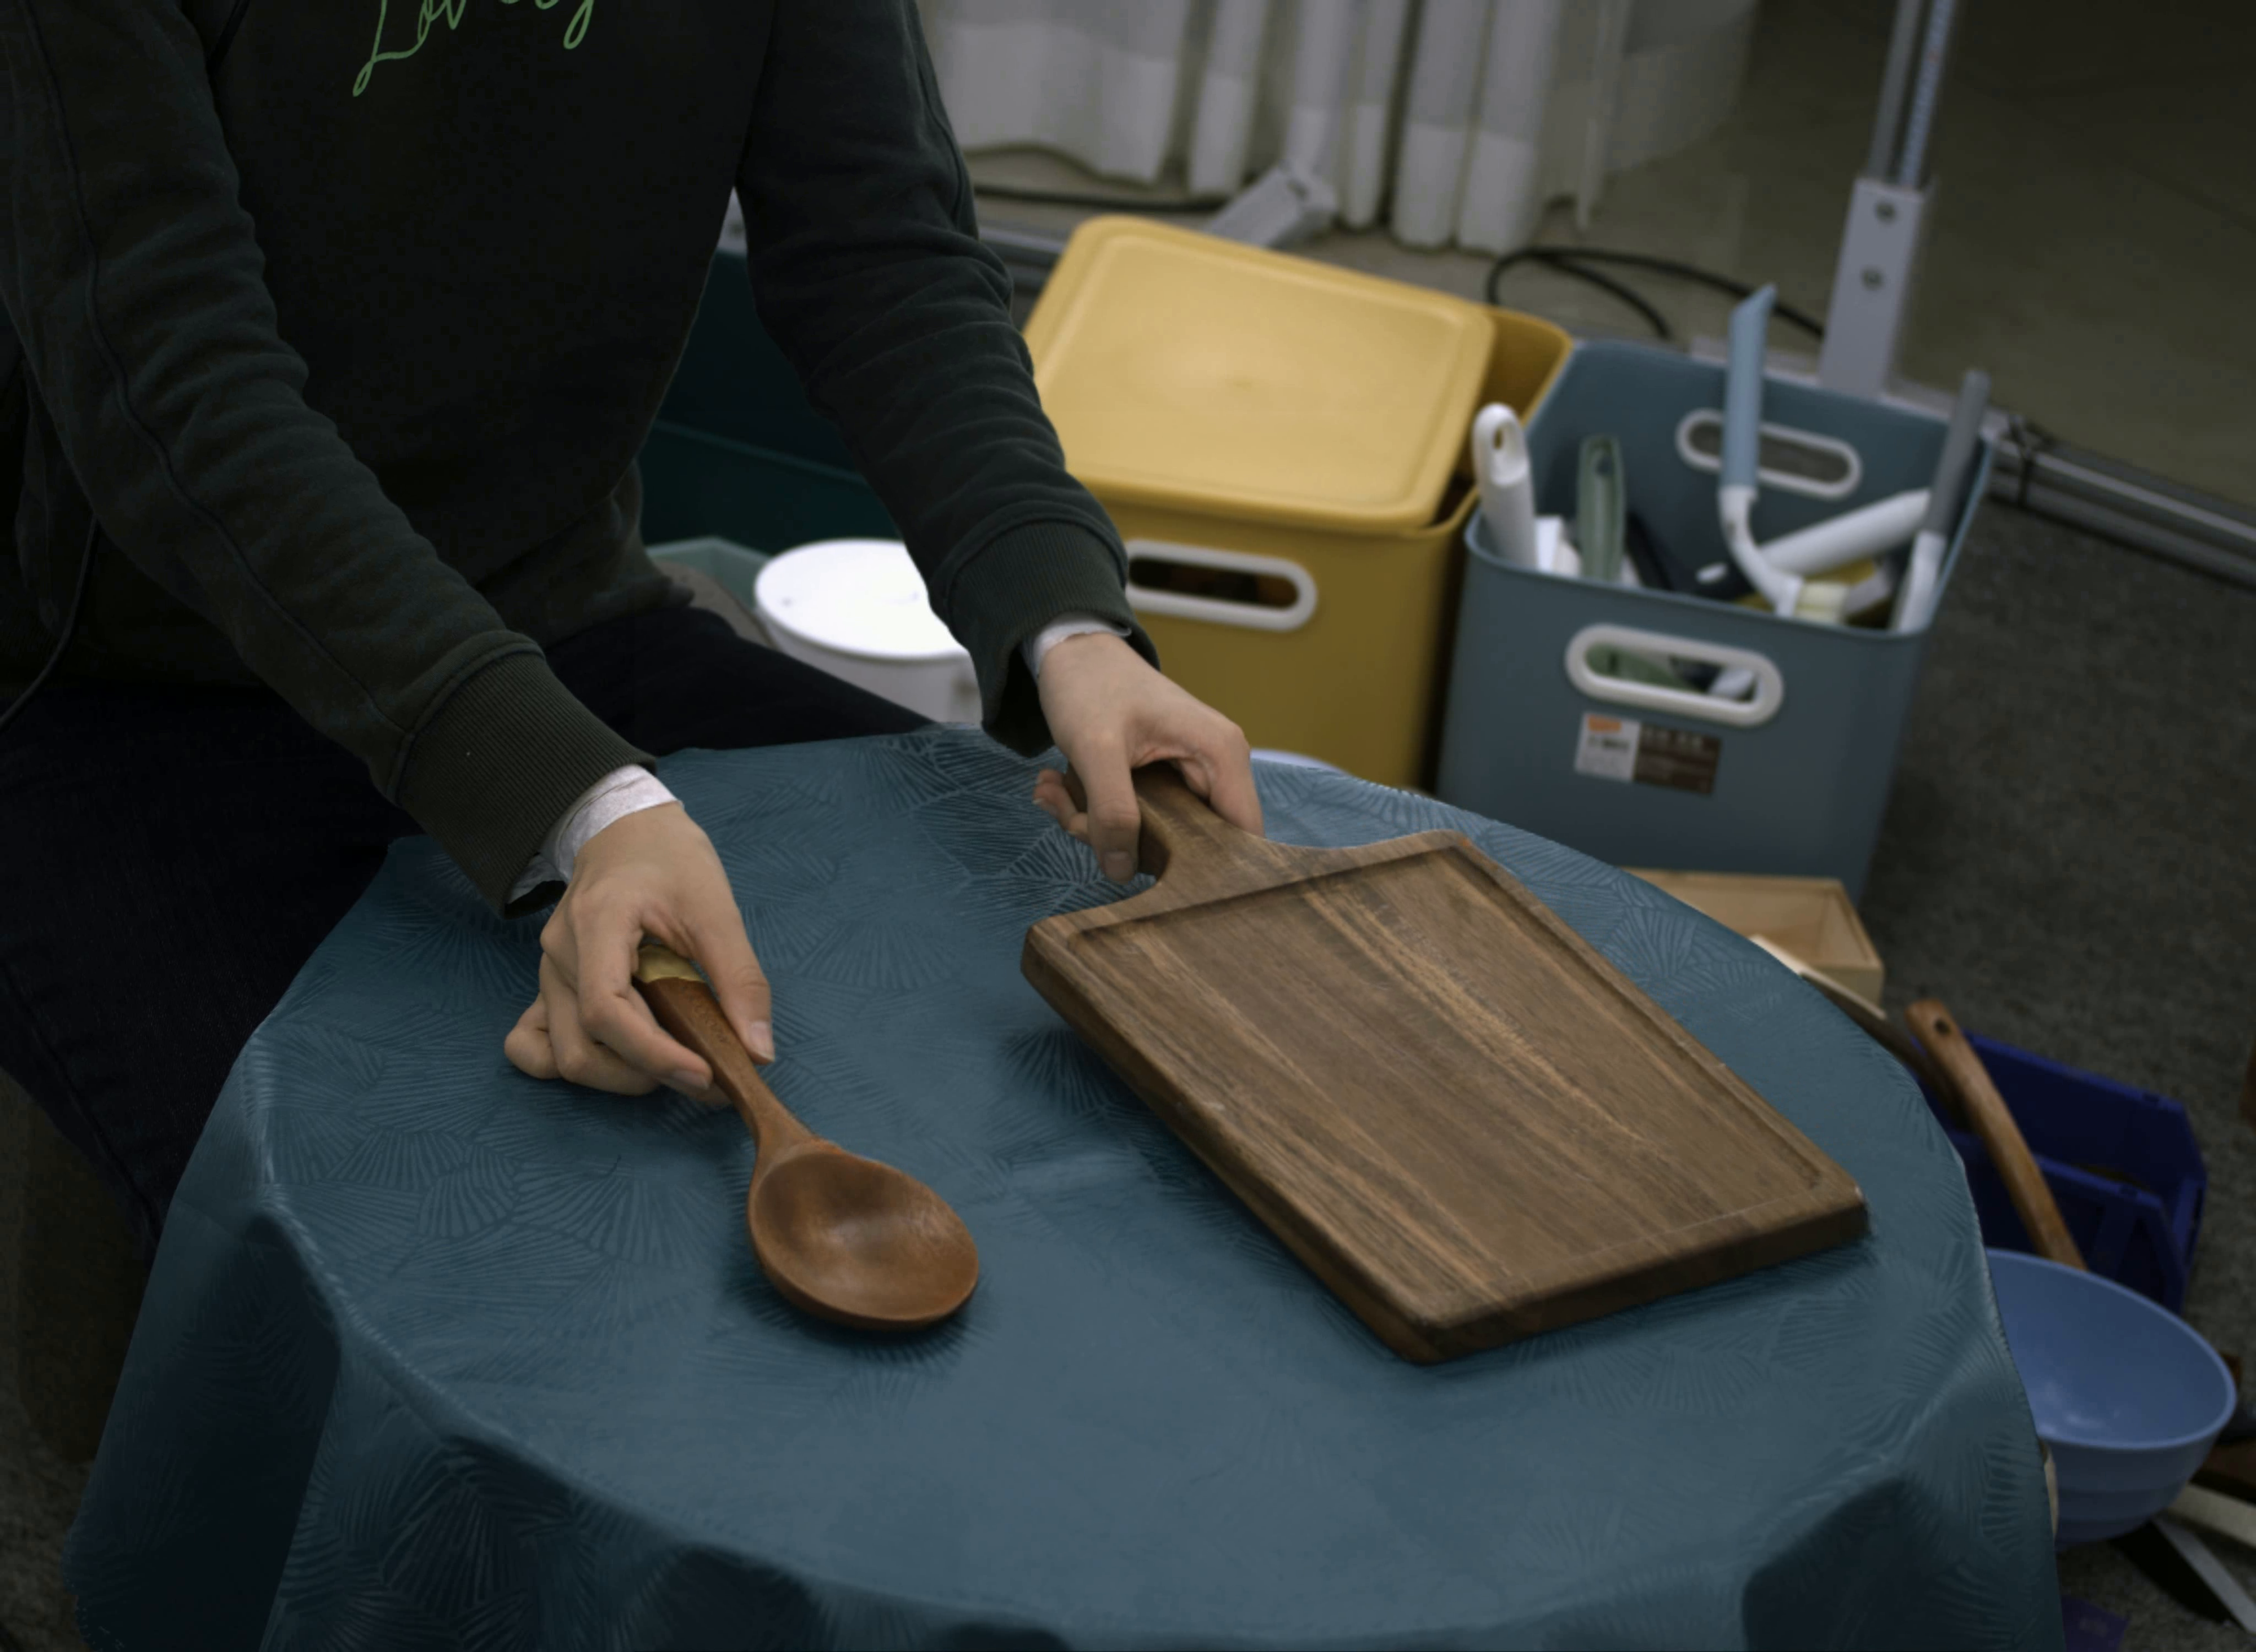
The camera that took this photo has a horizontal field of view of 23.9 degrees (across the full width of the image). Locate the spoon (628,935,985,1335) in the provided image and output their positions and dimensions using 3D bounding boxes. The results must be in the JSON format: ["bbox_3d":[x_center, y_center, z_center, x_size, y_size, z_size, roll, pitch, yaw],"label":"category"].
[{"bbox_3d":[-0.116,0.103,1.774,0.075,0.017,0.218,-10,39,-27],"label":"spoon"}]

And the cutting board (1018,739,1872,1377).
[{"bbox_3d":[0.081,0.064,1.882,0.200,0.023,0.355,-14,38,-31],"label":"cutting board"}]
